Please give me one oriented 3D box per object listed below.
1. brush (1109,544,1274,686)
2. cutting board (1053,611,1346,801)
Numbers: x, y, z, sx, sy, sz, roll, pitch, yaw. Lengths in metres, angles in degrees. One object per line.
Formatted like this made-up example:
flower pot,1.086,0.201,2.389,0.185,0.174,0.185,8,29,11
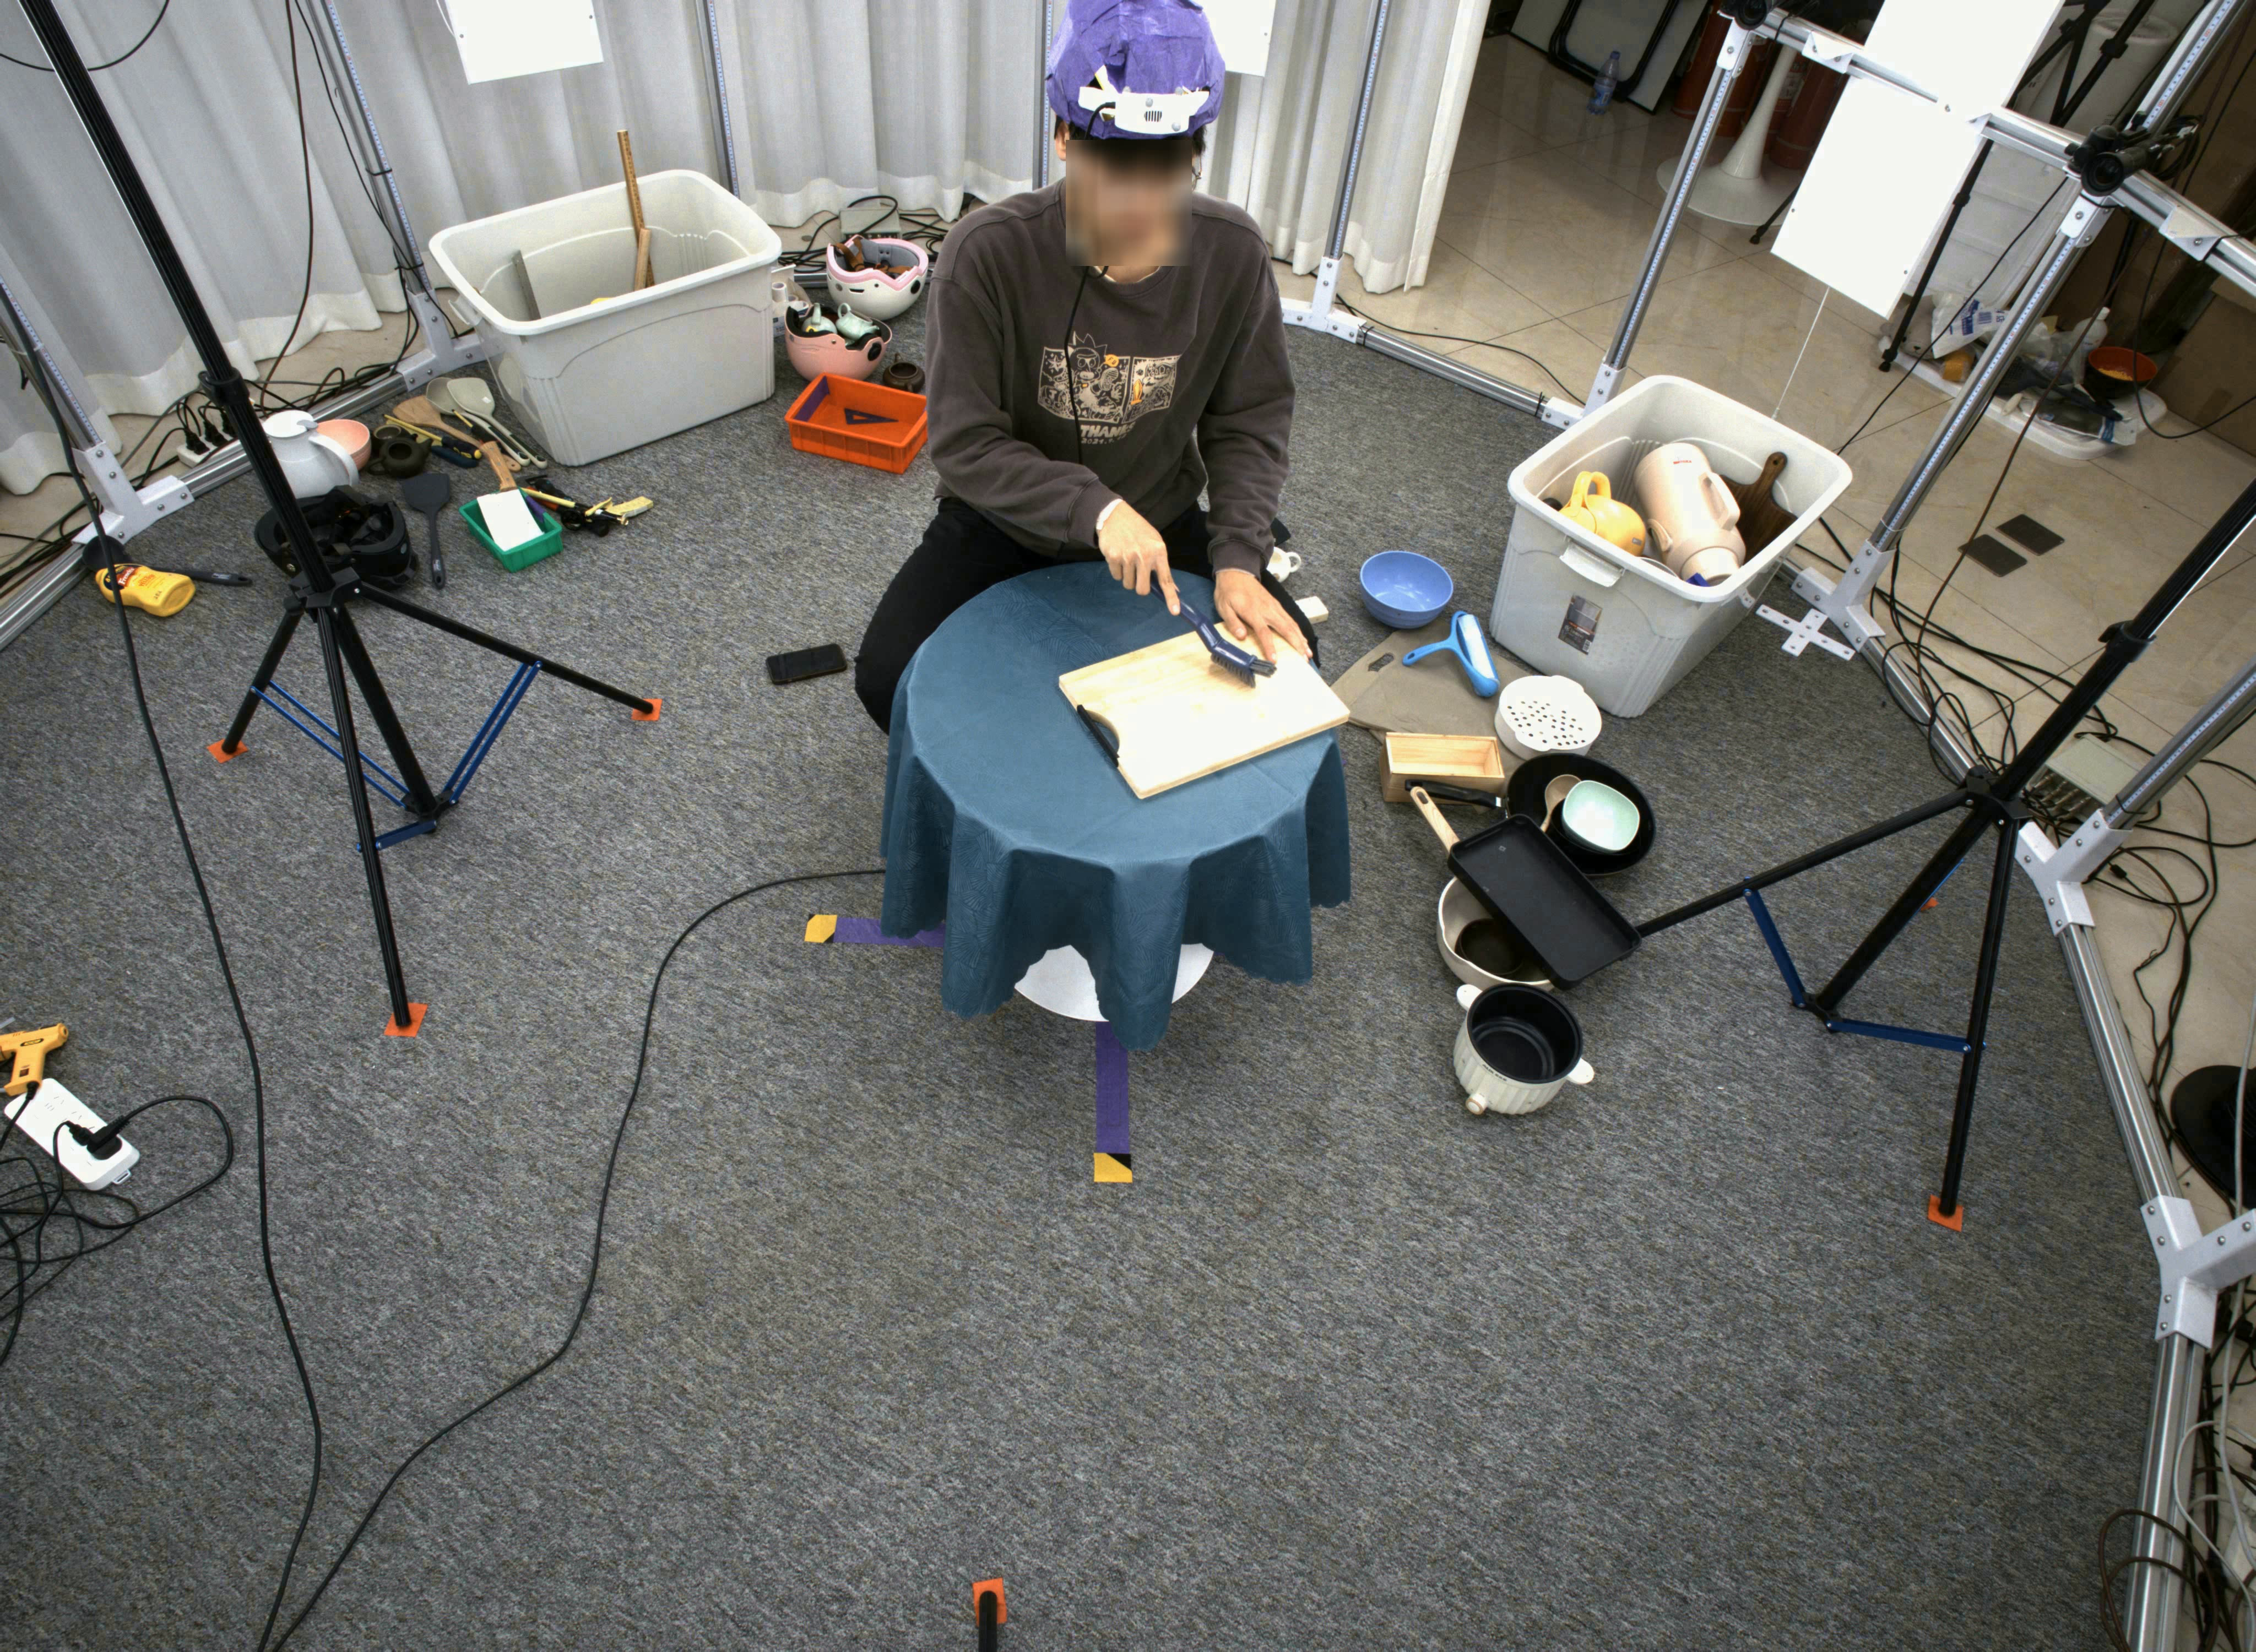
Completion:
brush,0.088,-0.300,1.800,0.272,0.095,0.034,44,70,-4
cutting board,0.102,-0.178,1.816,0.349,0.023,0.256,-21,53,-21
